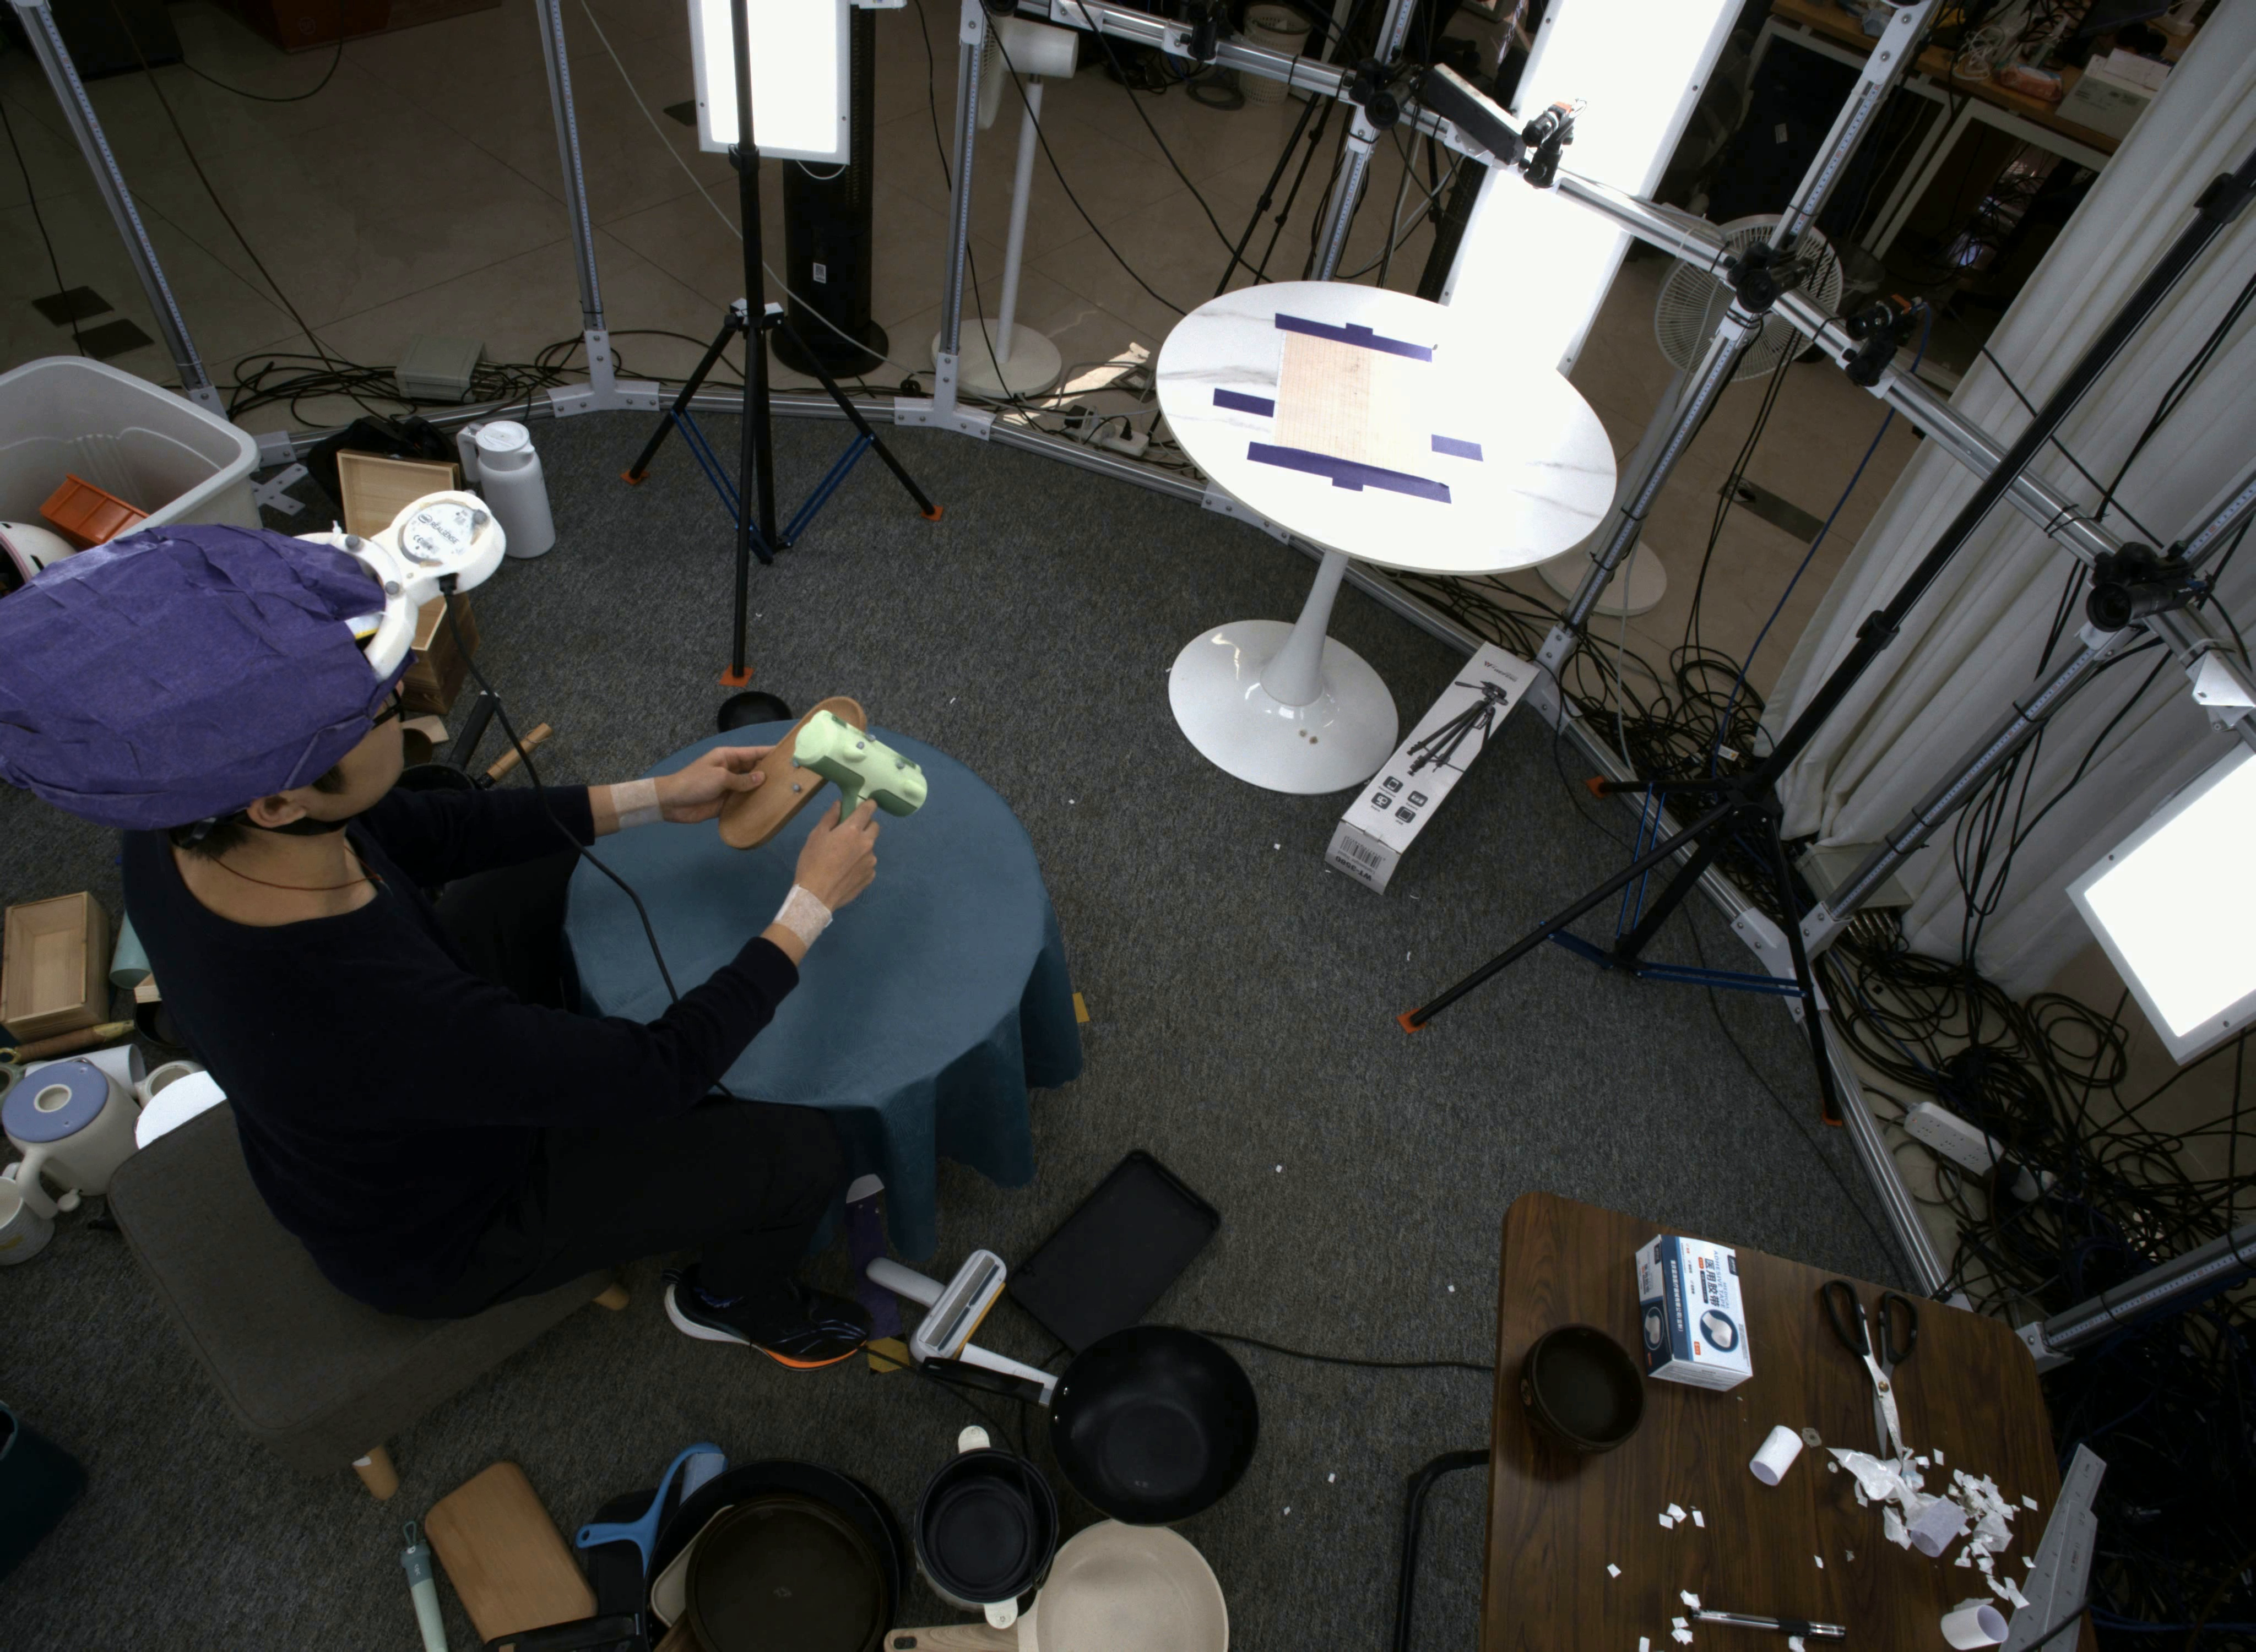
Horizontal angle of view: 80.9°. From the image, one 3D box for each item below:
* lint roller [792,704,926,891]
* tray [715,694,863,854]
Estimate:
[{"bbox_3d":[-0.302,-0.021,1.489,0.080,0.205,0.182,-11,68,24],"label":"lint roller"},{"bbox_3d":[-0.405,-0.062,1.545,0.231,0.021,0.098,-47,54,1],"label":"tray"}]
